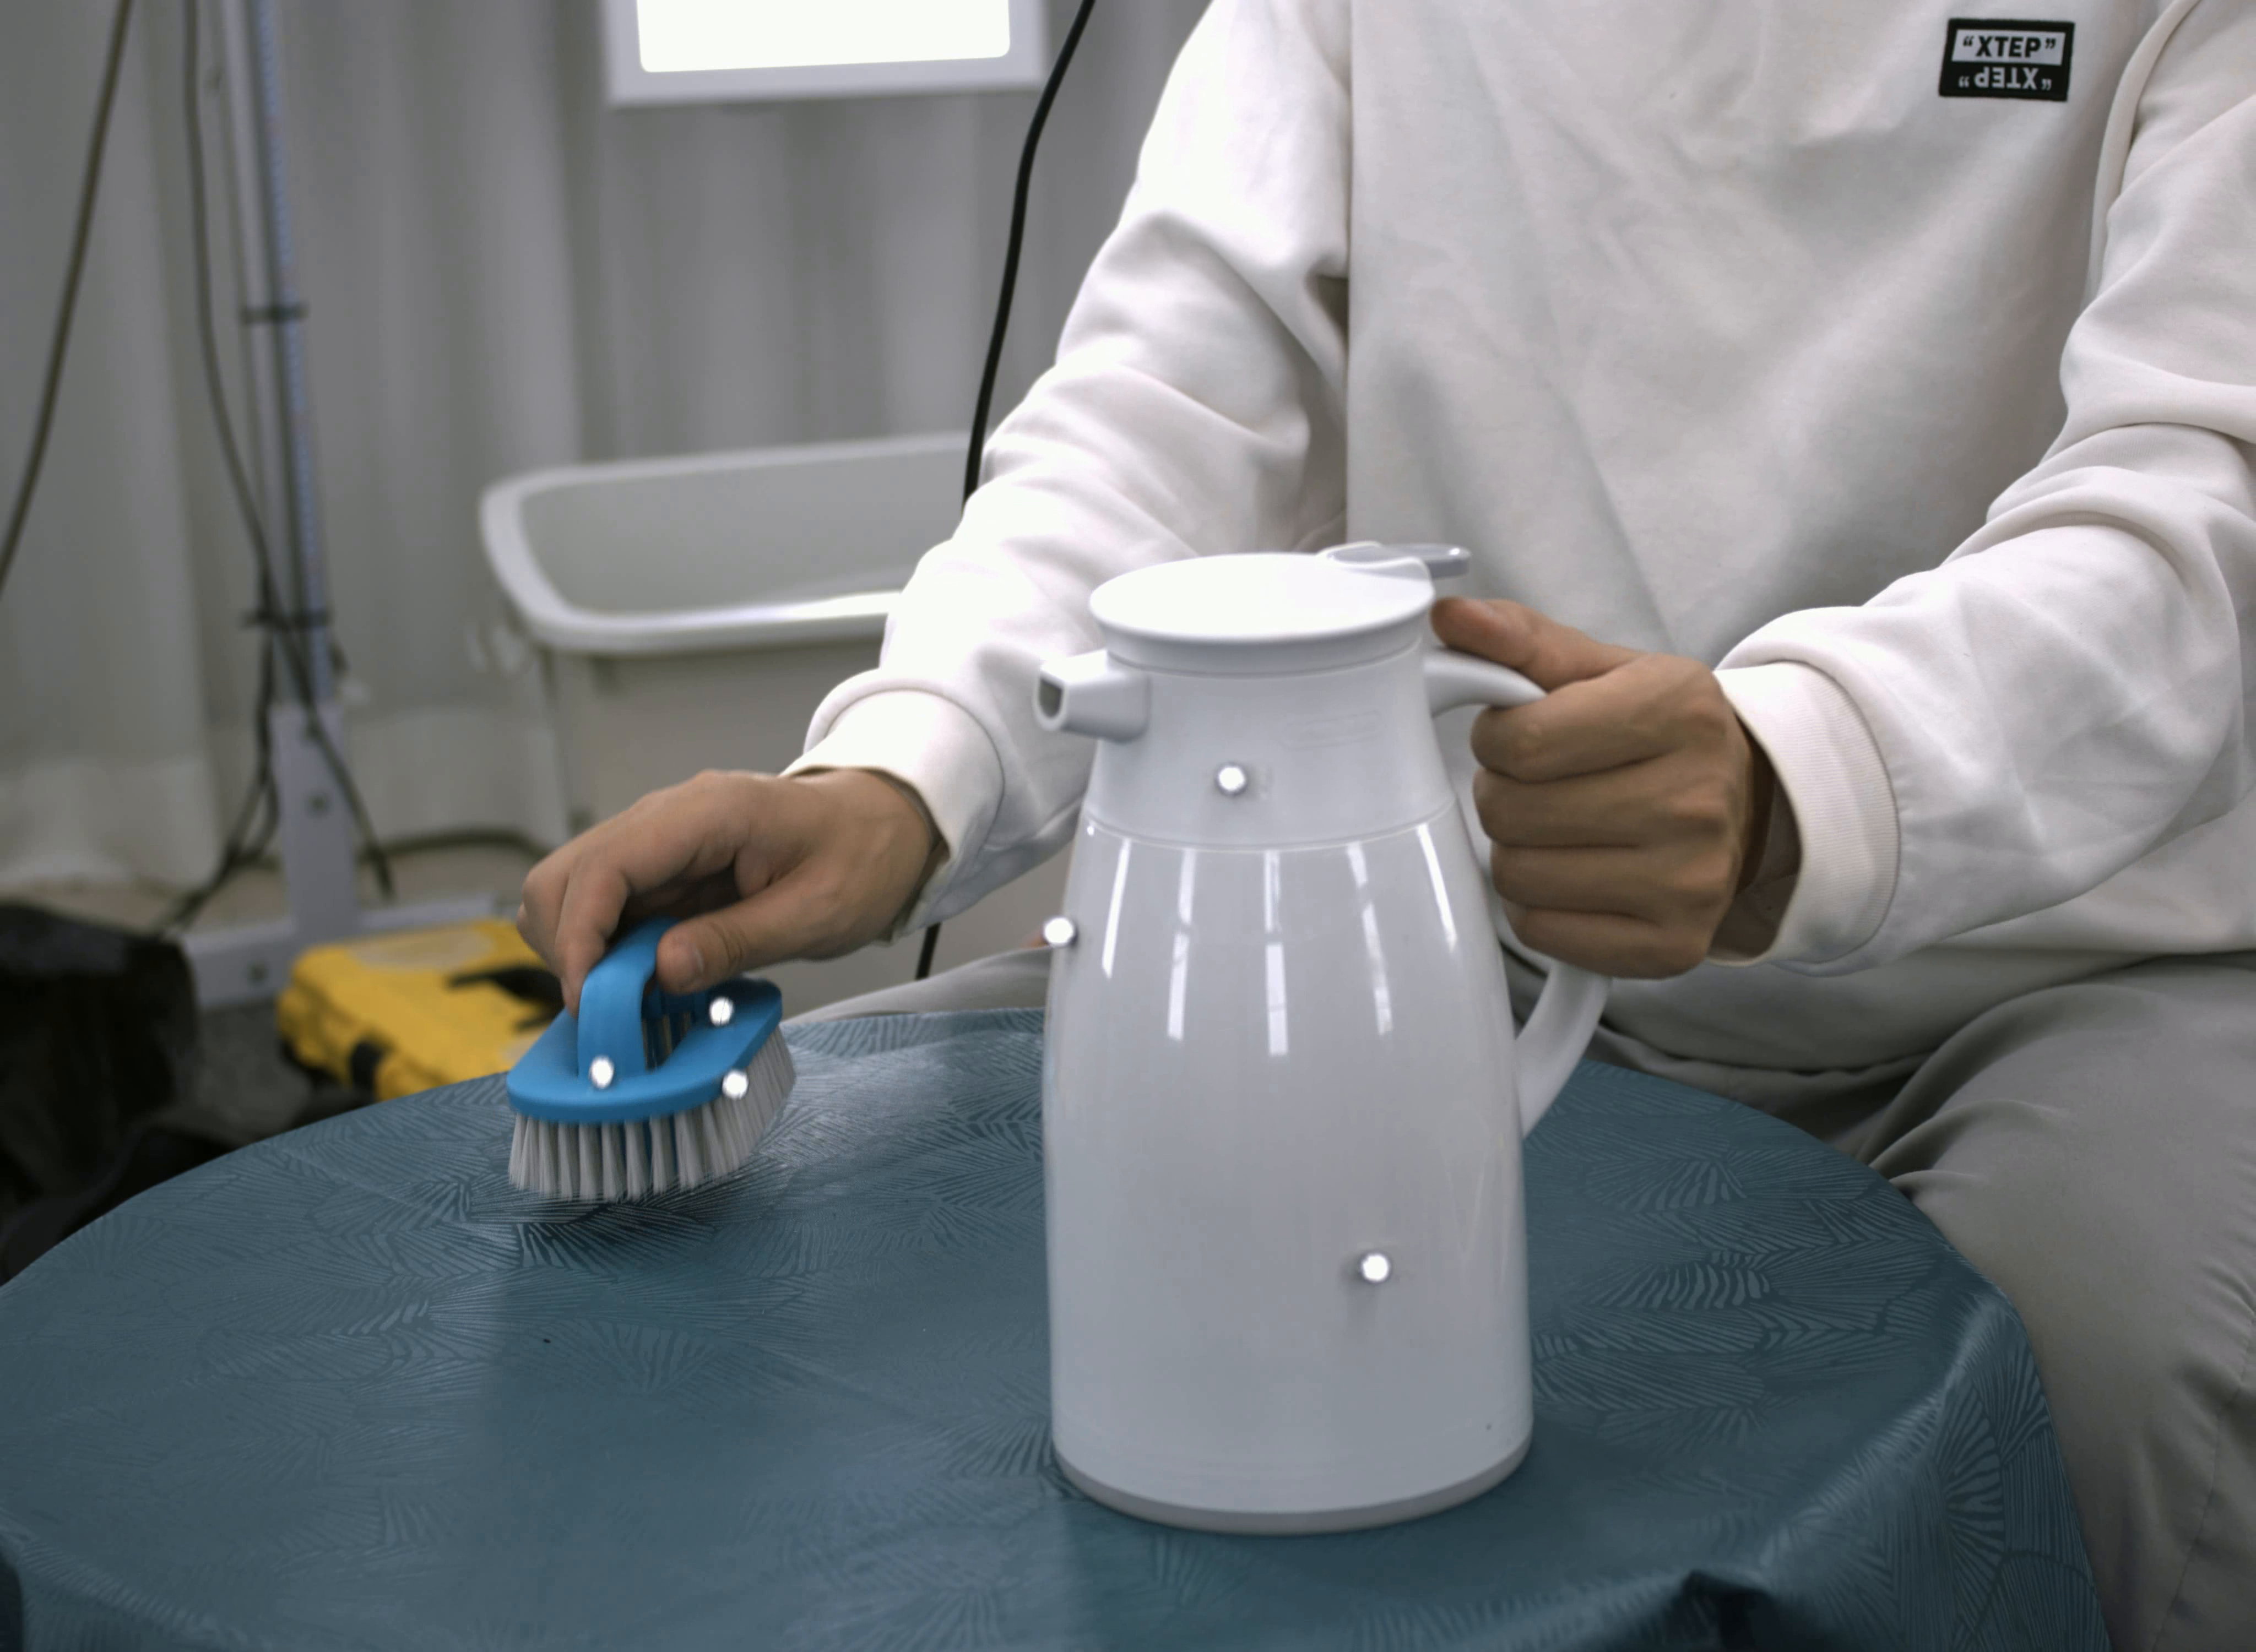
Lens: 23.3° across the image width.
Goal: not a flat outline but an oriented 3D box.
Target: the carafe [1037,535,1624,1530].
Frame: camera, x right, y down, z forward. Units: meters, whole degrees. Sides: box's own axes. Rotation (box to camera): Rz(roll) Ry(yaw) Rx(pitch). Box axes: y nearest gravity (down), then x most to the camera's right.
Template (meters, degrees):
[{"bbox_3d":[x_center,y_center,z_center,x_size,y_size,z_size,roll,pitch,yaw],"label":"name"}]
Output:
[{"bbox_3d":[0.057,0.046,1.478,0.167,0.248,0.133,-8,15,-24],"label":"carafe"}]

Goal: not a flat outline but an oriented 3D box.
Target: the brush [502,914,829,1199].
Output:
[{"bbox_3d":[-0.150,0.067,1.743,0.084,0.063,0.142,-5,15,16],"label":"brush"}]
